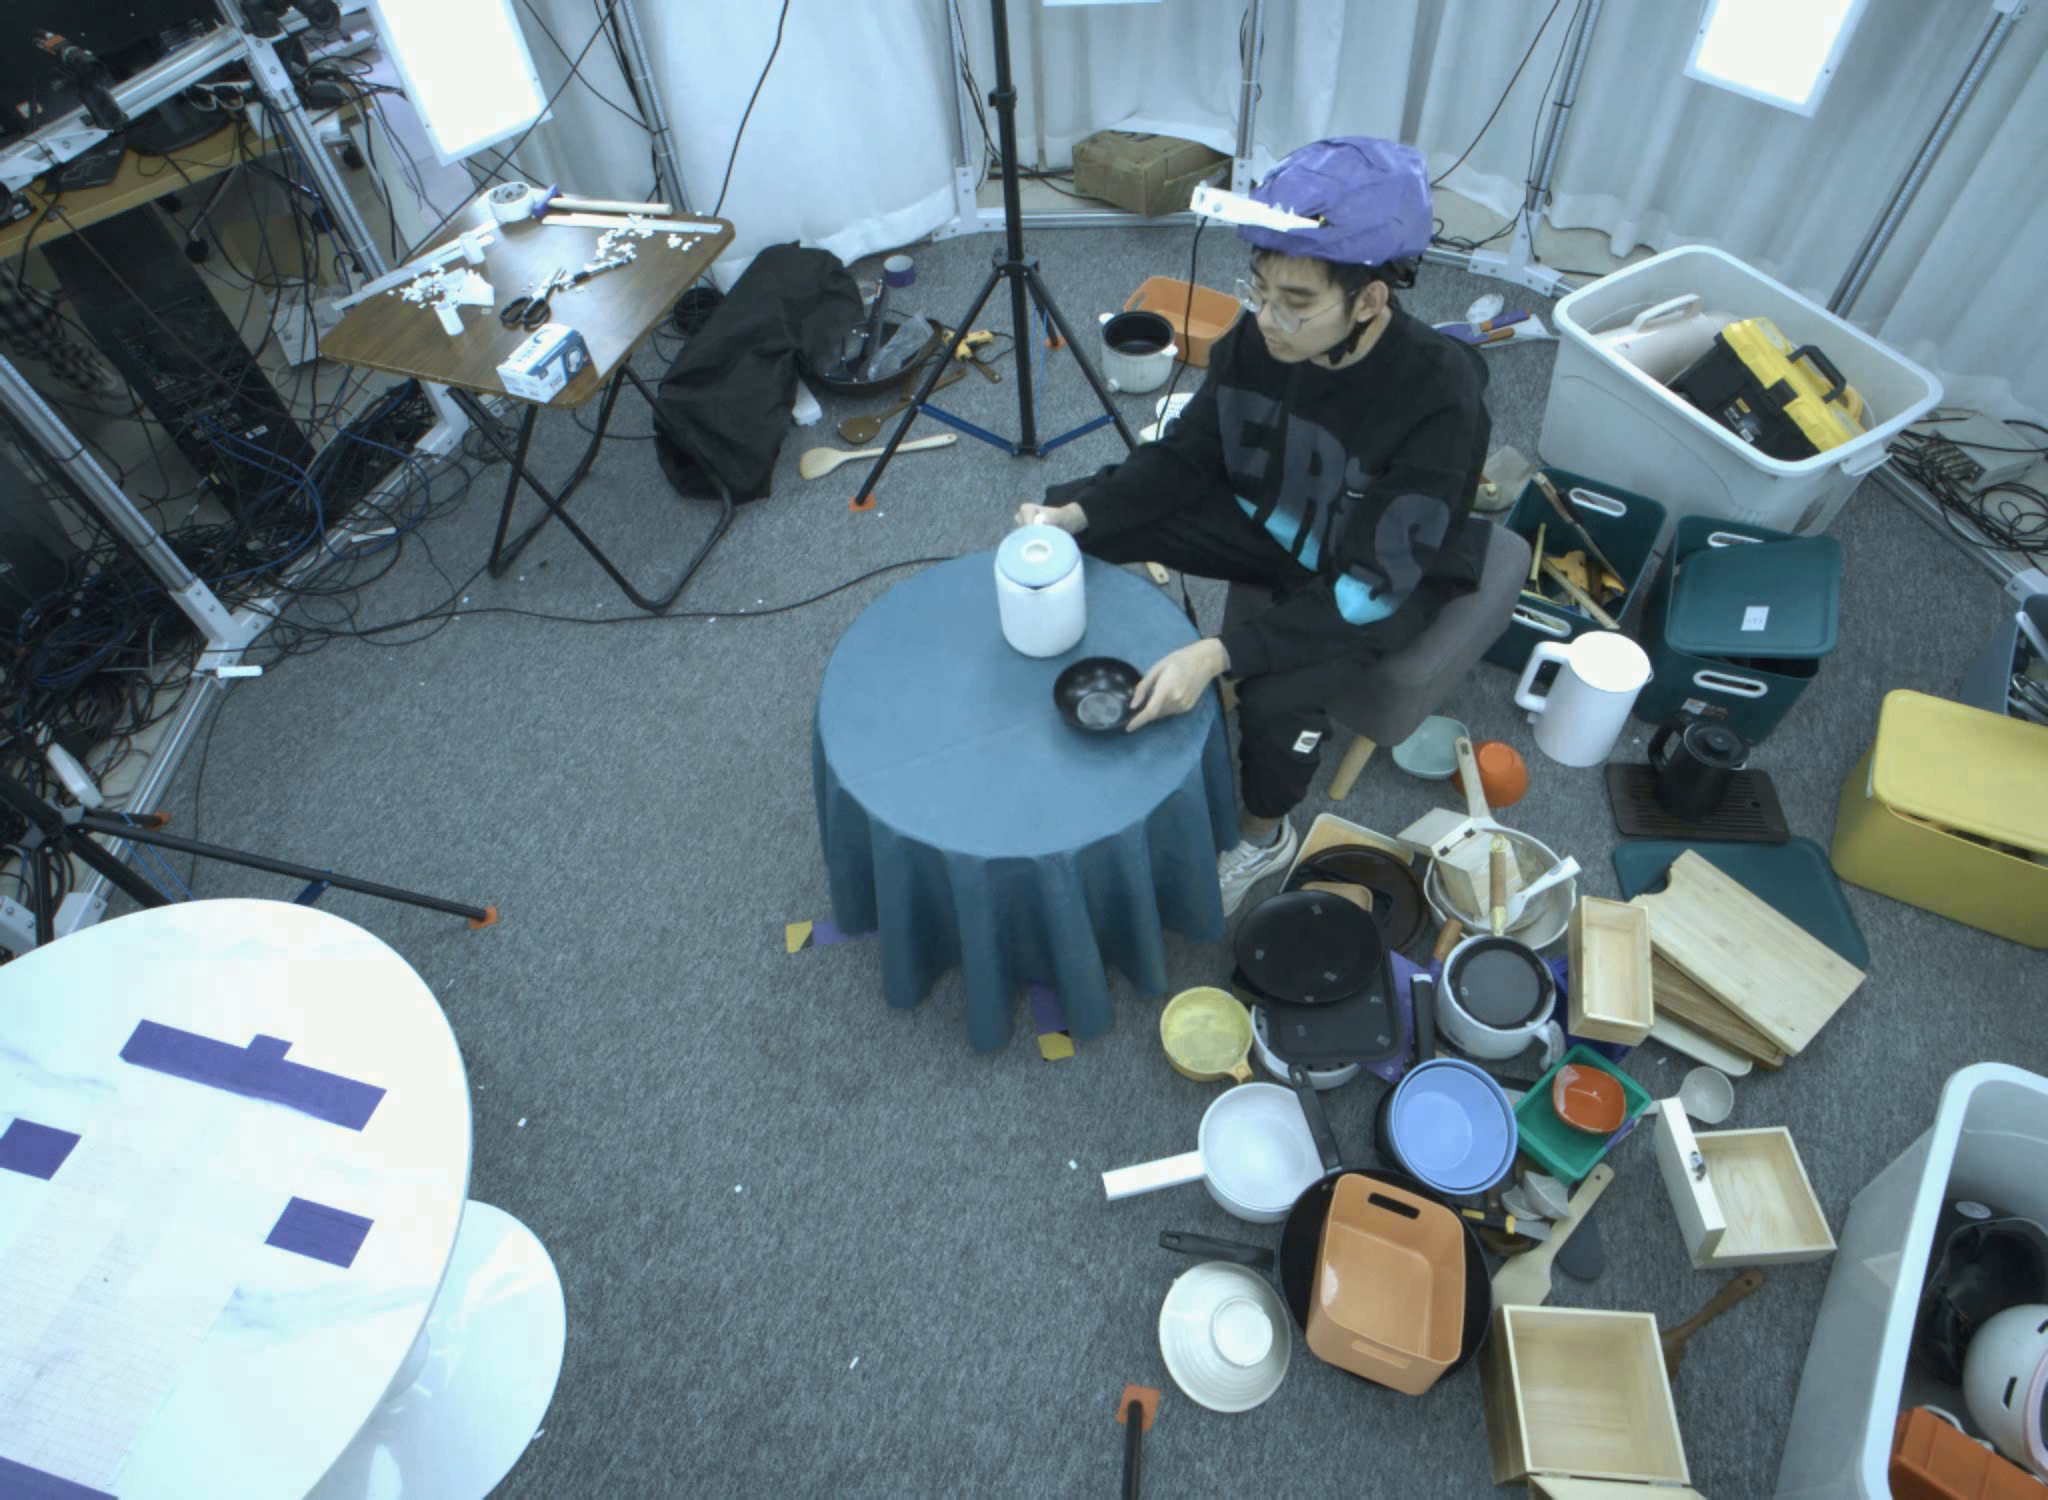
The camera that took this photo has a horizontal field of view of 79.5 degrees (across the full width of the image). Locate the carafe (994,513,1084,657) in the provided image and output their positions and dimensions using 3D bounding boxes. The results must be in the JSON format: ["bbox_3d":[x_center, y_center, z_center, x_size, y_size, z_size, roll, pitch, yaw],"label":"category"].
[{"bbox_3d":[0.024,-0.259,1.856,0.132,0.184,0.189,-1,55,2],"label":"carafe"}]

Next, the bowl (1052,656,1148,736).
[{"bbox_3d":[0.111,-0.070,1.799,0.140,0.050,0.138,0,53,1],"label":"bowl"}]
